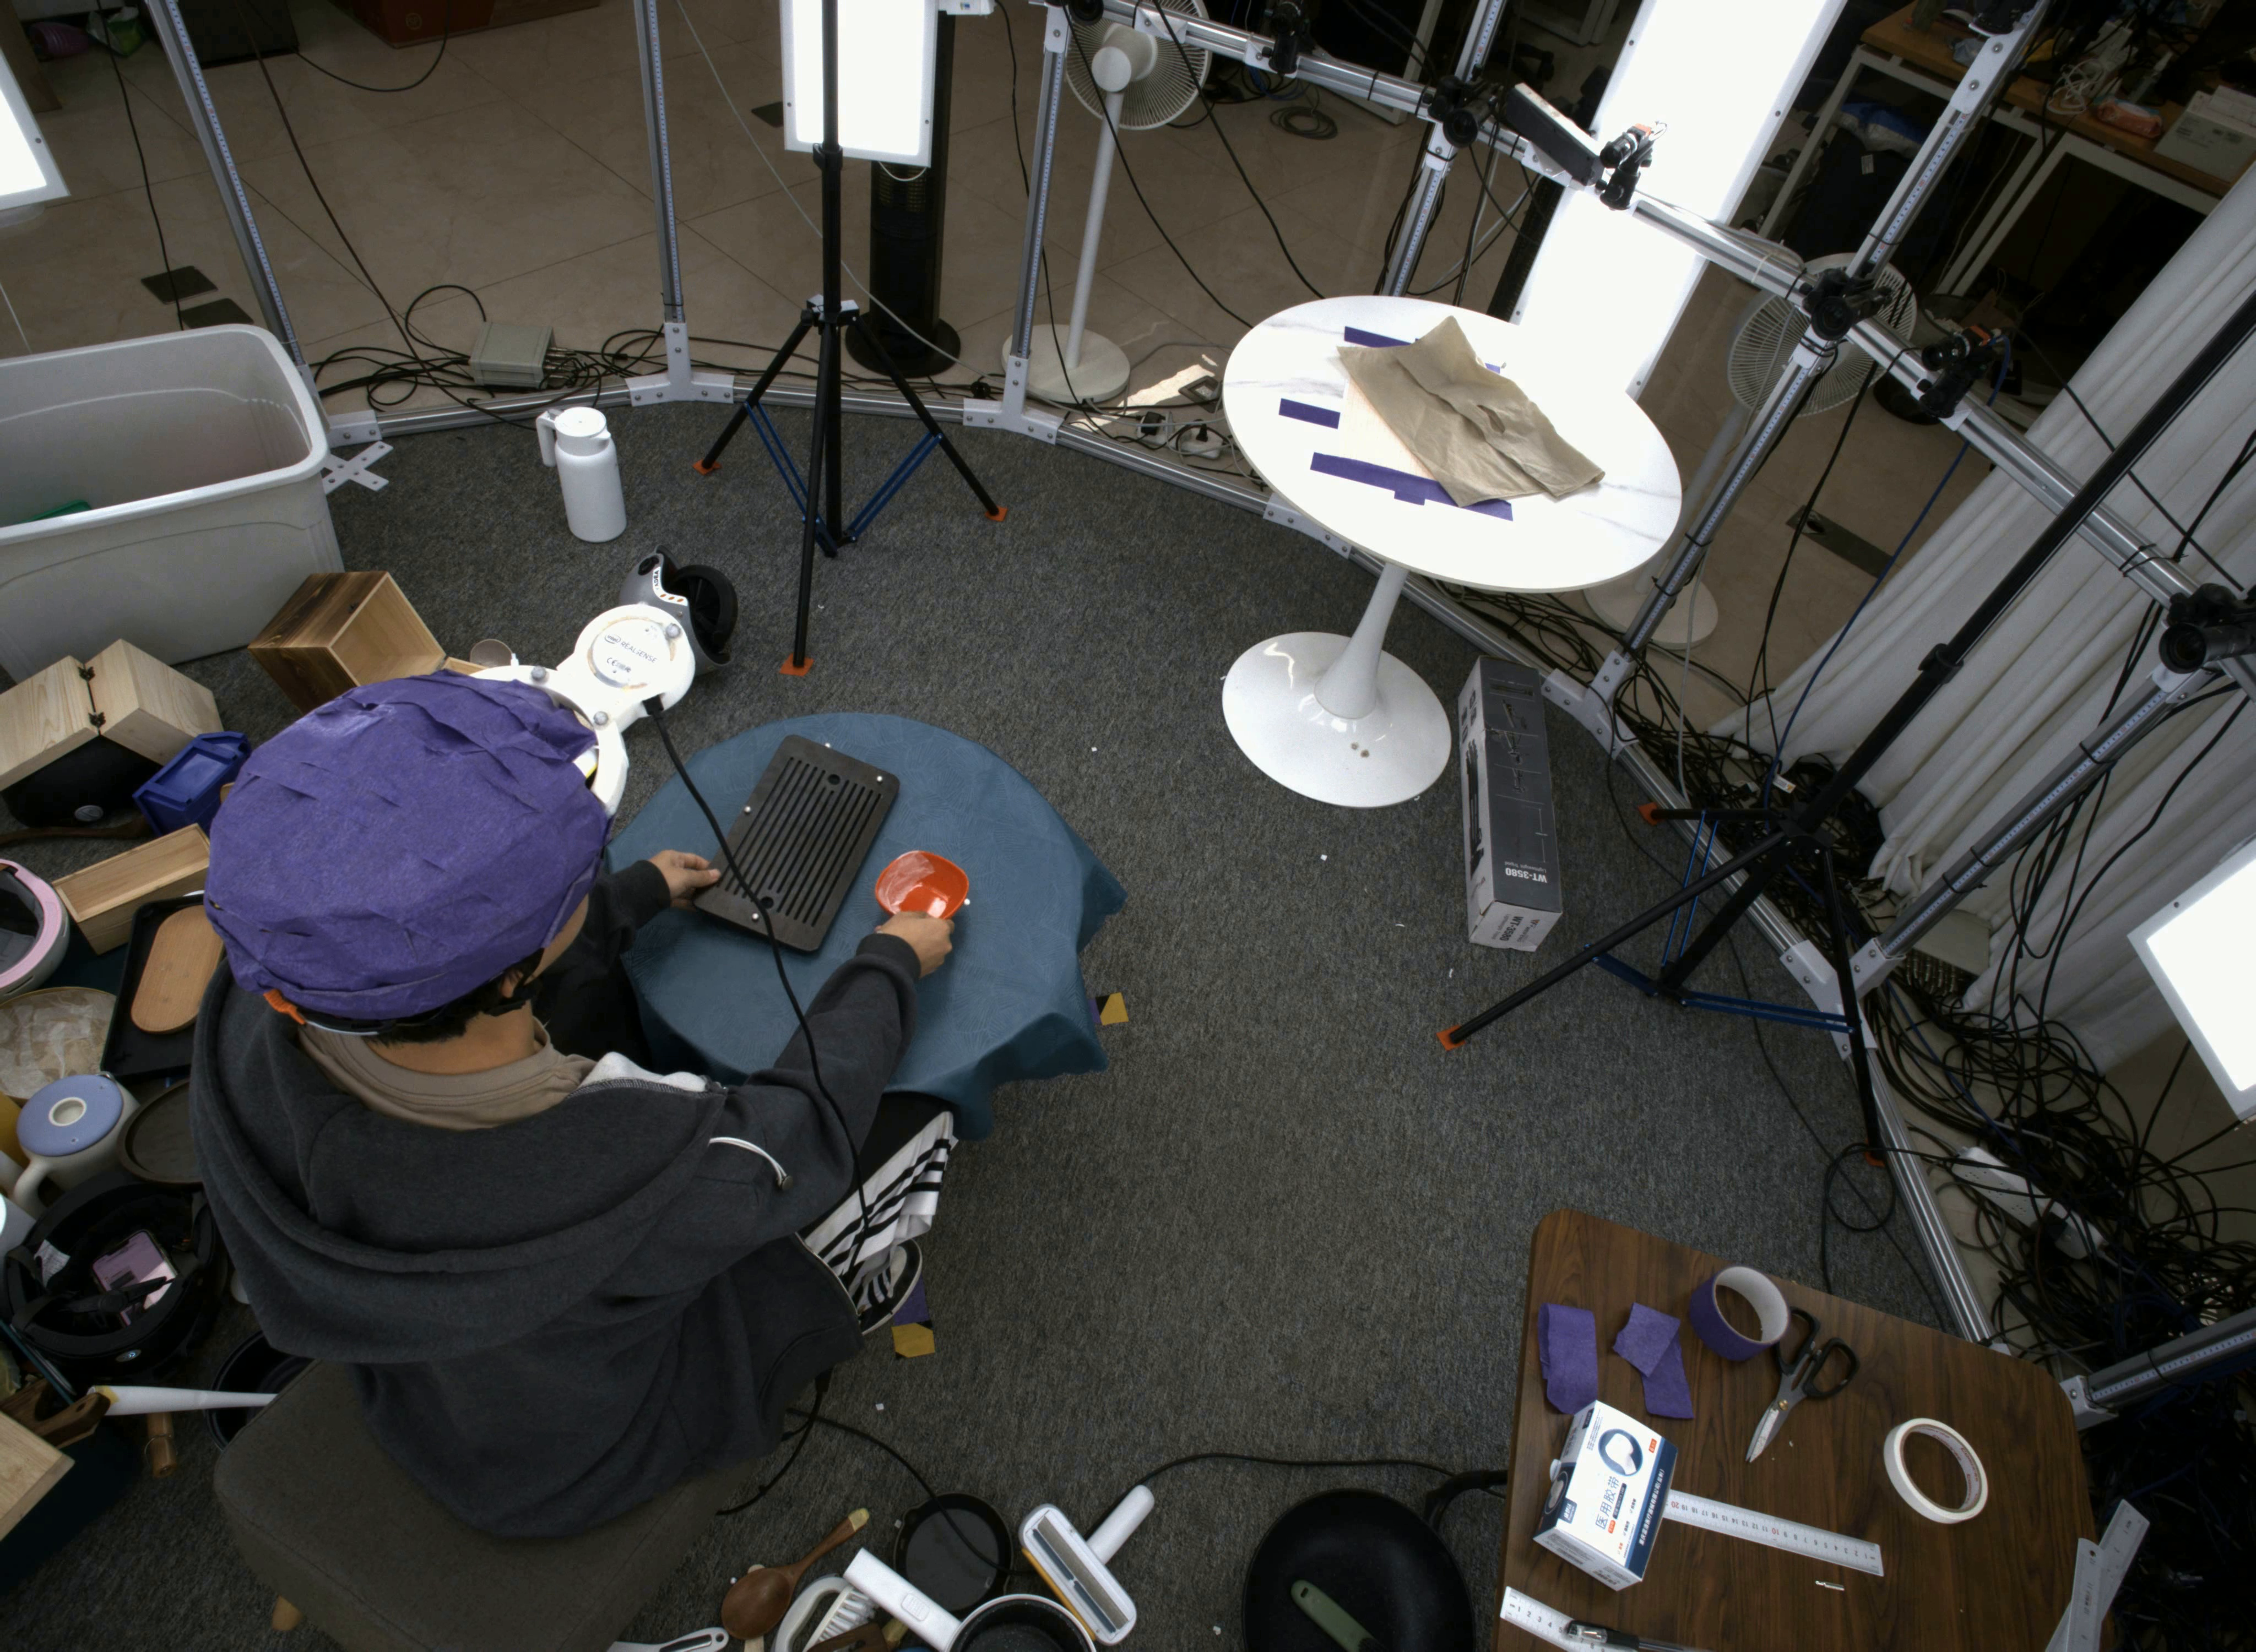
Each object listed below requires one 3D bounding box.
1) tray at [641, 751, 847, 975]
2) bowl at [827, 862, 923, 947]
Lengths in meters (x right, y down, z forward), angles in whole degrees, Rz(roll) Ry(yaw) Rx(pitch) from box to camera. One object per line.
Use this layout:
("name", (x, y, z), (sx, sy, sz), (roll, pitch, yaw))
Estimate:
("tray", (-0.487, 0.041, 1.658), (0.170, 0.019, 0.302), (21, 52, -8))
("bowl", (-0.318, 0.105, 1.637), (0.118, 0.052, 0.116), (7, 48, -7))
